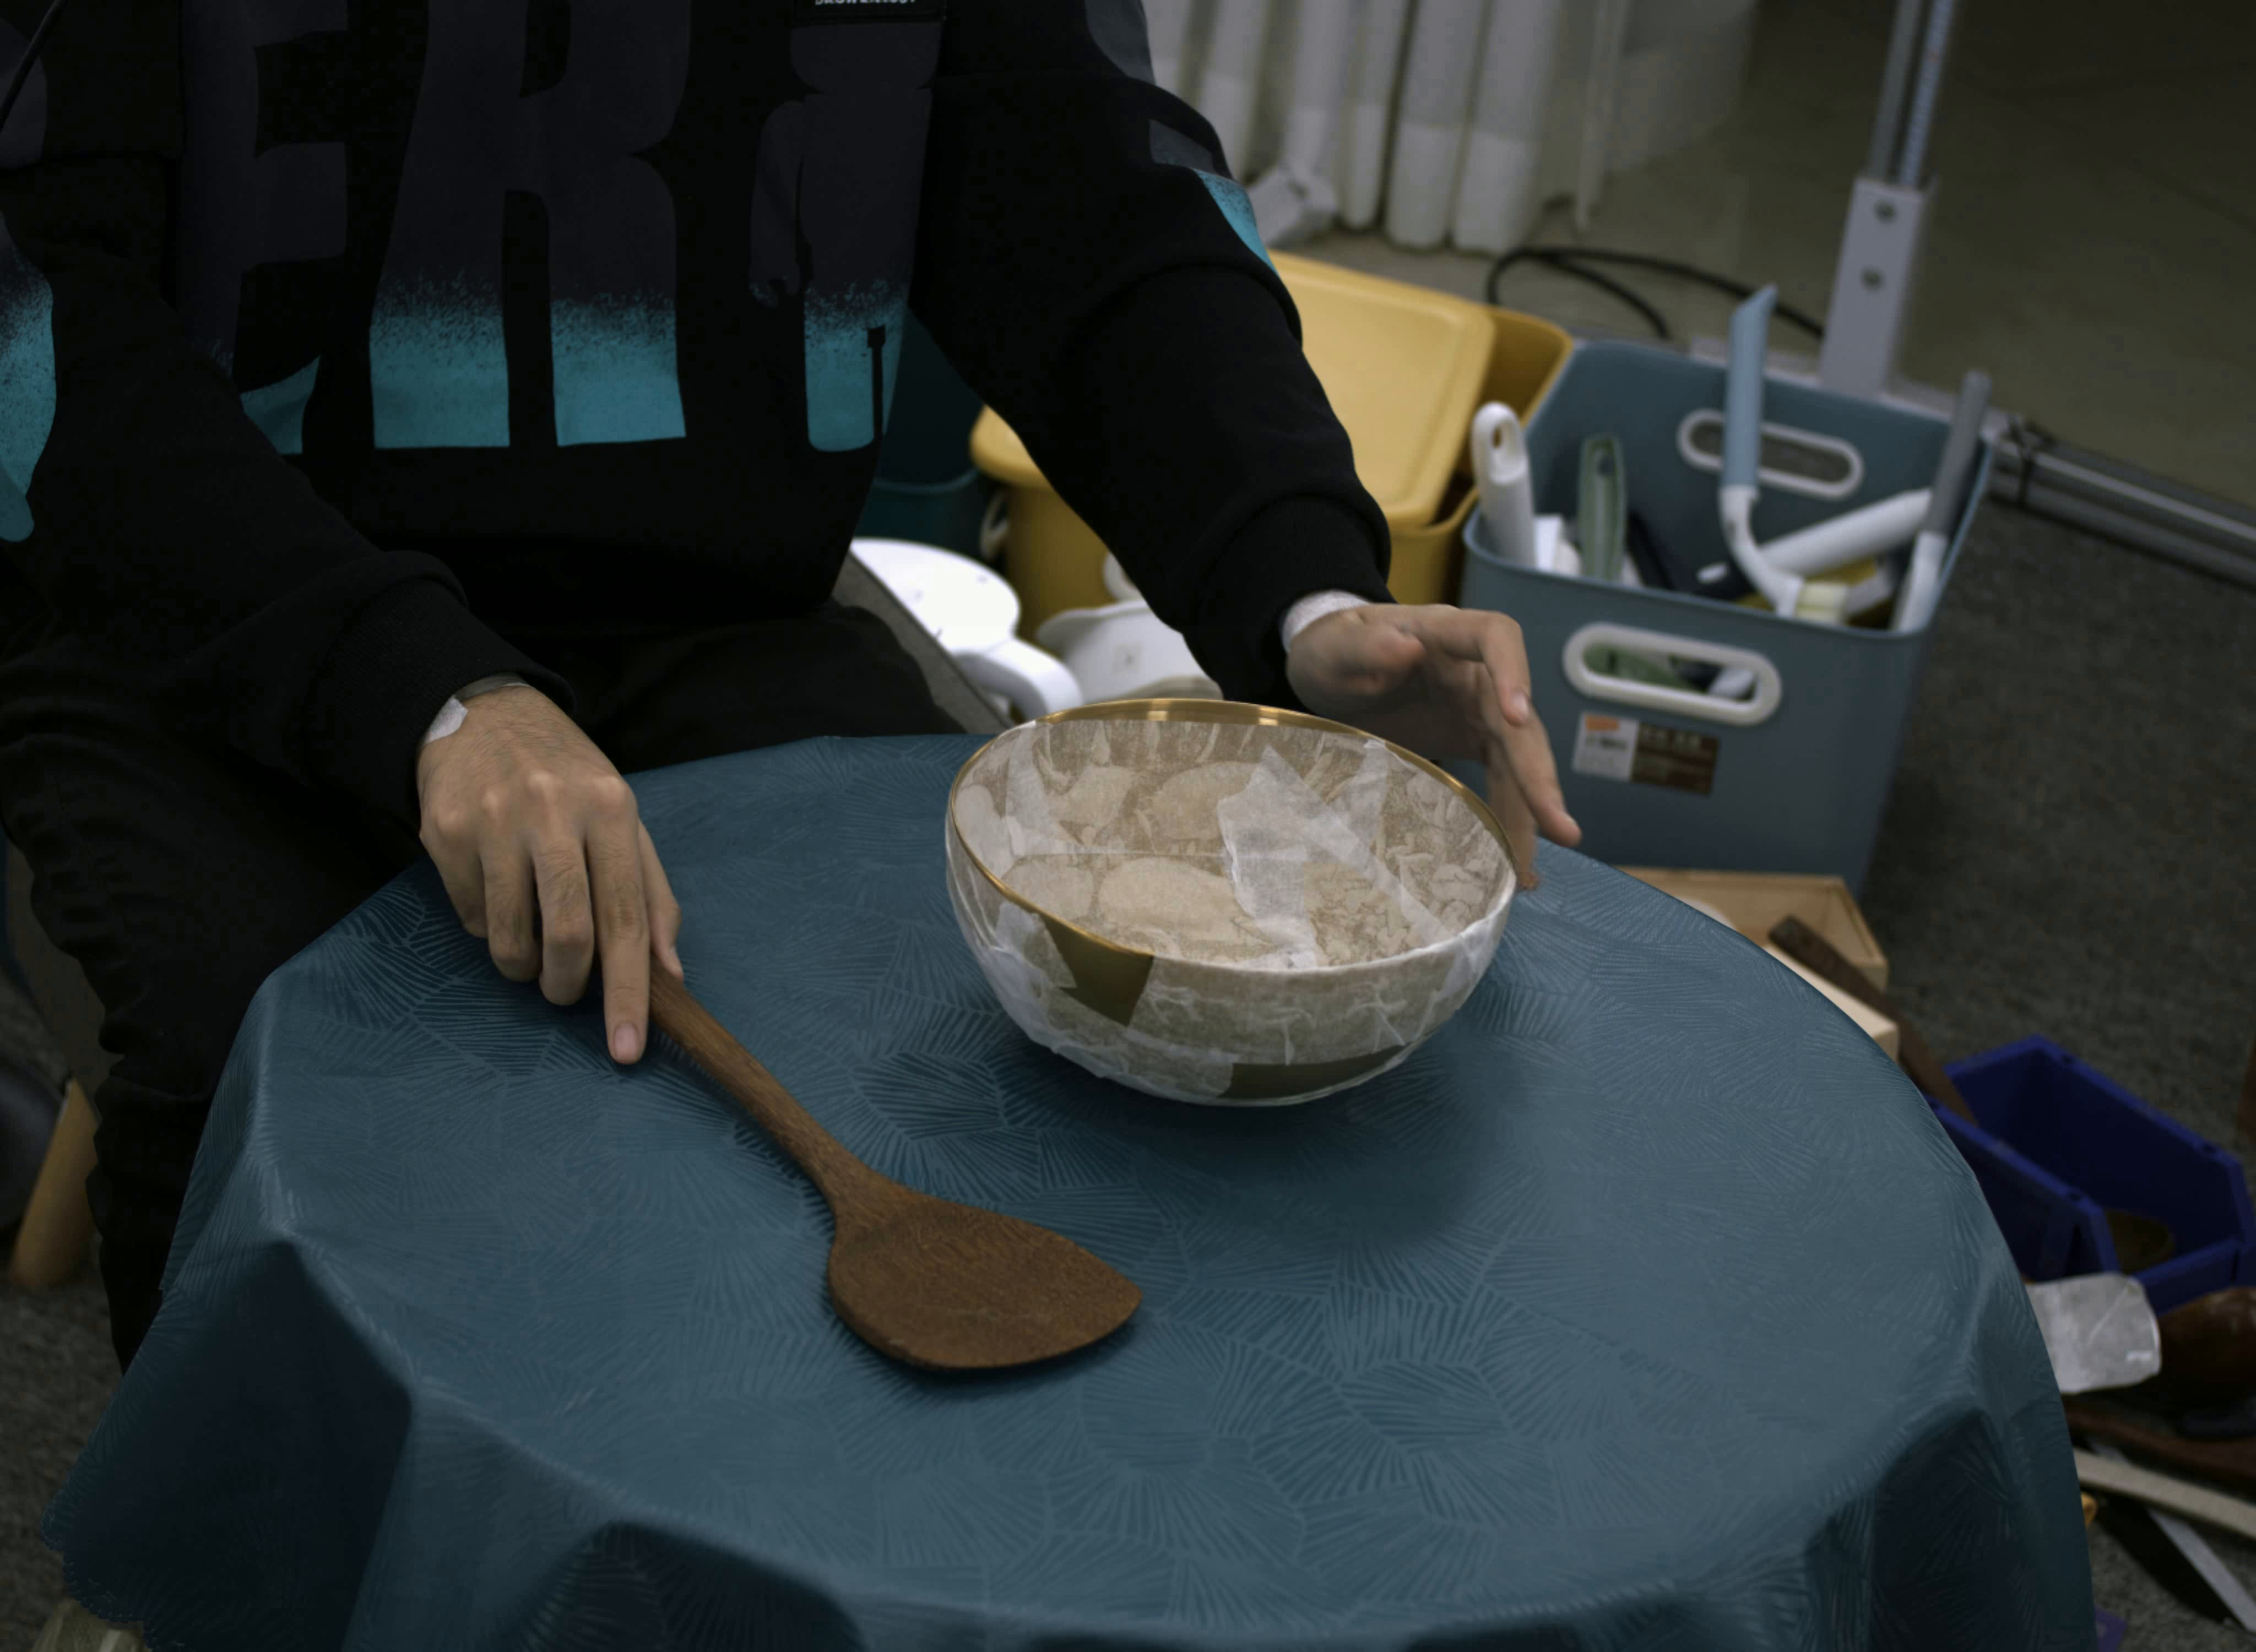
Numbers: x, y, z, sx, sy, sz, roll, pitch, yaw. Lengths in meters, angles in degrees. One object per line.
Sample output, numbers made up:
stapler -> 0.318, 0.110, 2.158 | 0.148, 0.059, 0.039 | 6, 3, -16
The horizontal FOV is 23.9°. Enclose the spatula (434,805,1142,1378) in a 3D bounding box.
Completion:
spatula -> -0.136, 0.082, 1.821 | 0.095, 0.016, 0.389 | -13, 36, -35

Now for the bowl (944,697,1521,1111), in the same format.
bowl -> 0.033, 0.038, 1.874 | 0.214, 0.094, 0.216 | 4, 26, -2
